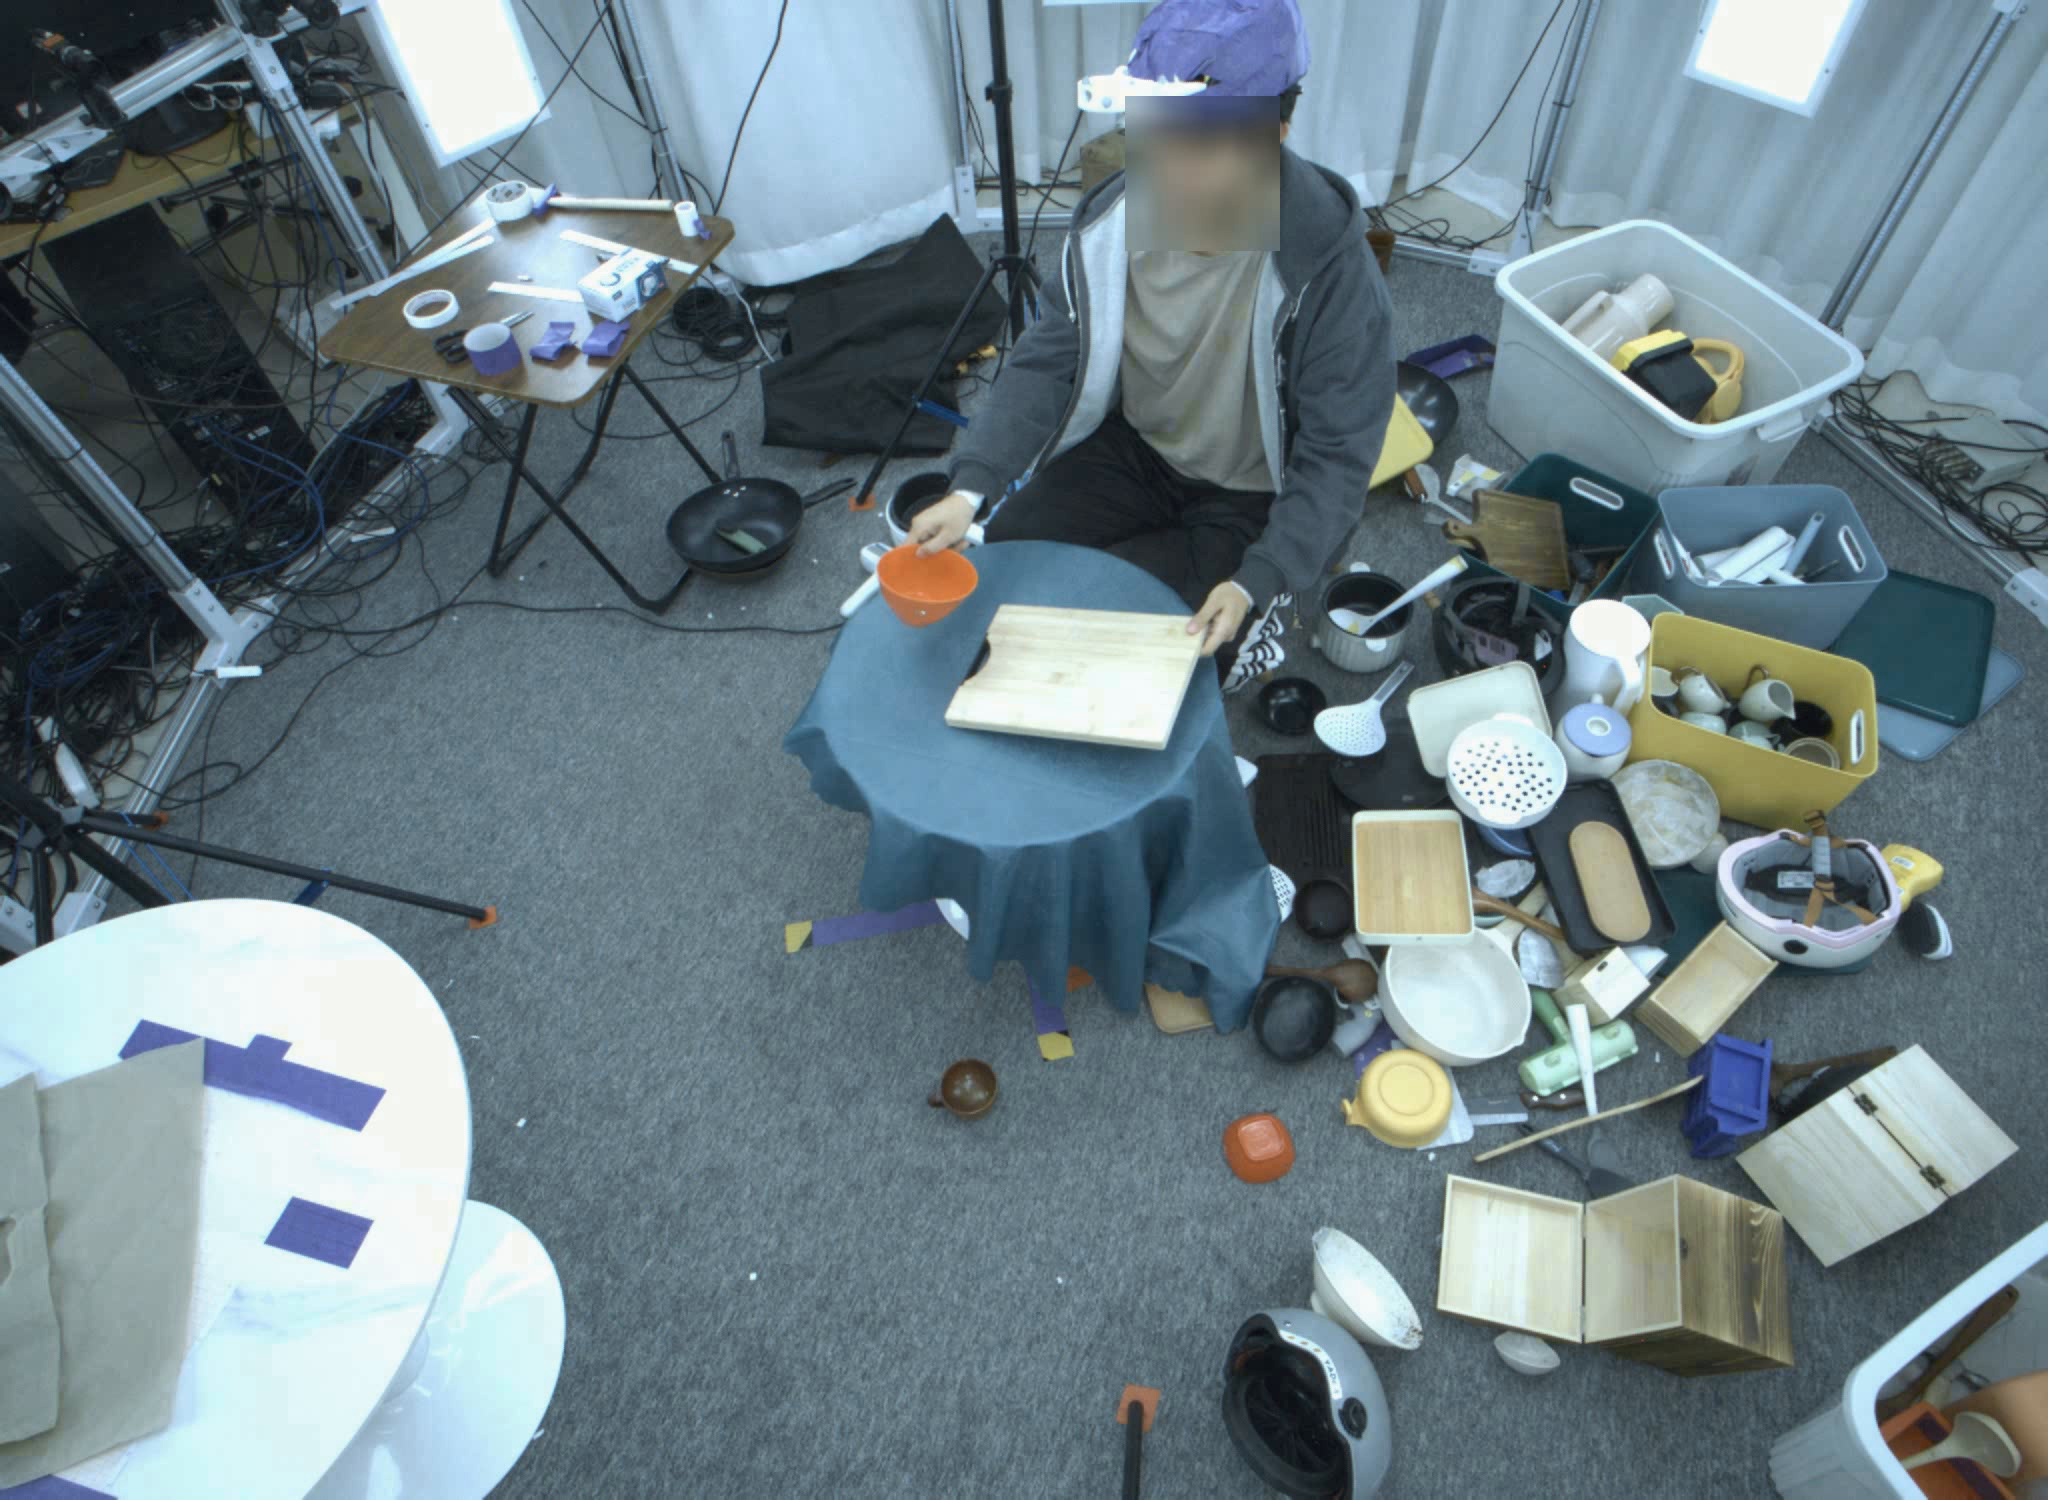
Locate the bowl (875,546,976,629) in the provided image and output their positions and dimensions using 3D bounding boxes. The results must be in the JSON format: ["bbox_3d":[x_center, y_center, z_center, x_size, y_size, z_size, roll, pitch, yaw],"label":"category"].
[{"bbox_3d":[-0.151,-0.229,1.809,0.149,0.105,0.146,8,52,-8],"label":"bowl"}]

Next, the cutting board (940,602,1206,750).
[{"bbox_3d":[0.072,-0.116,1.816,0.343,0.024,0.250,7,53,22],"label":"cutting board"}]
